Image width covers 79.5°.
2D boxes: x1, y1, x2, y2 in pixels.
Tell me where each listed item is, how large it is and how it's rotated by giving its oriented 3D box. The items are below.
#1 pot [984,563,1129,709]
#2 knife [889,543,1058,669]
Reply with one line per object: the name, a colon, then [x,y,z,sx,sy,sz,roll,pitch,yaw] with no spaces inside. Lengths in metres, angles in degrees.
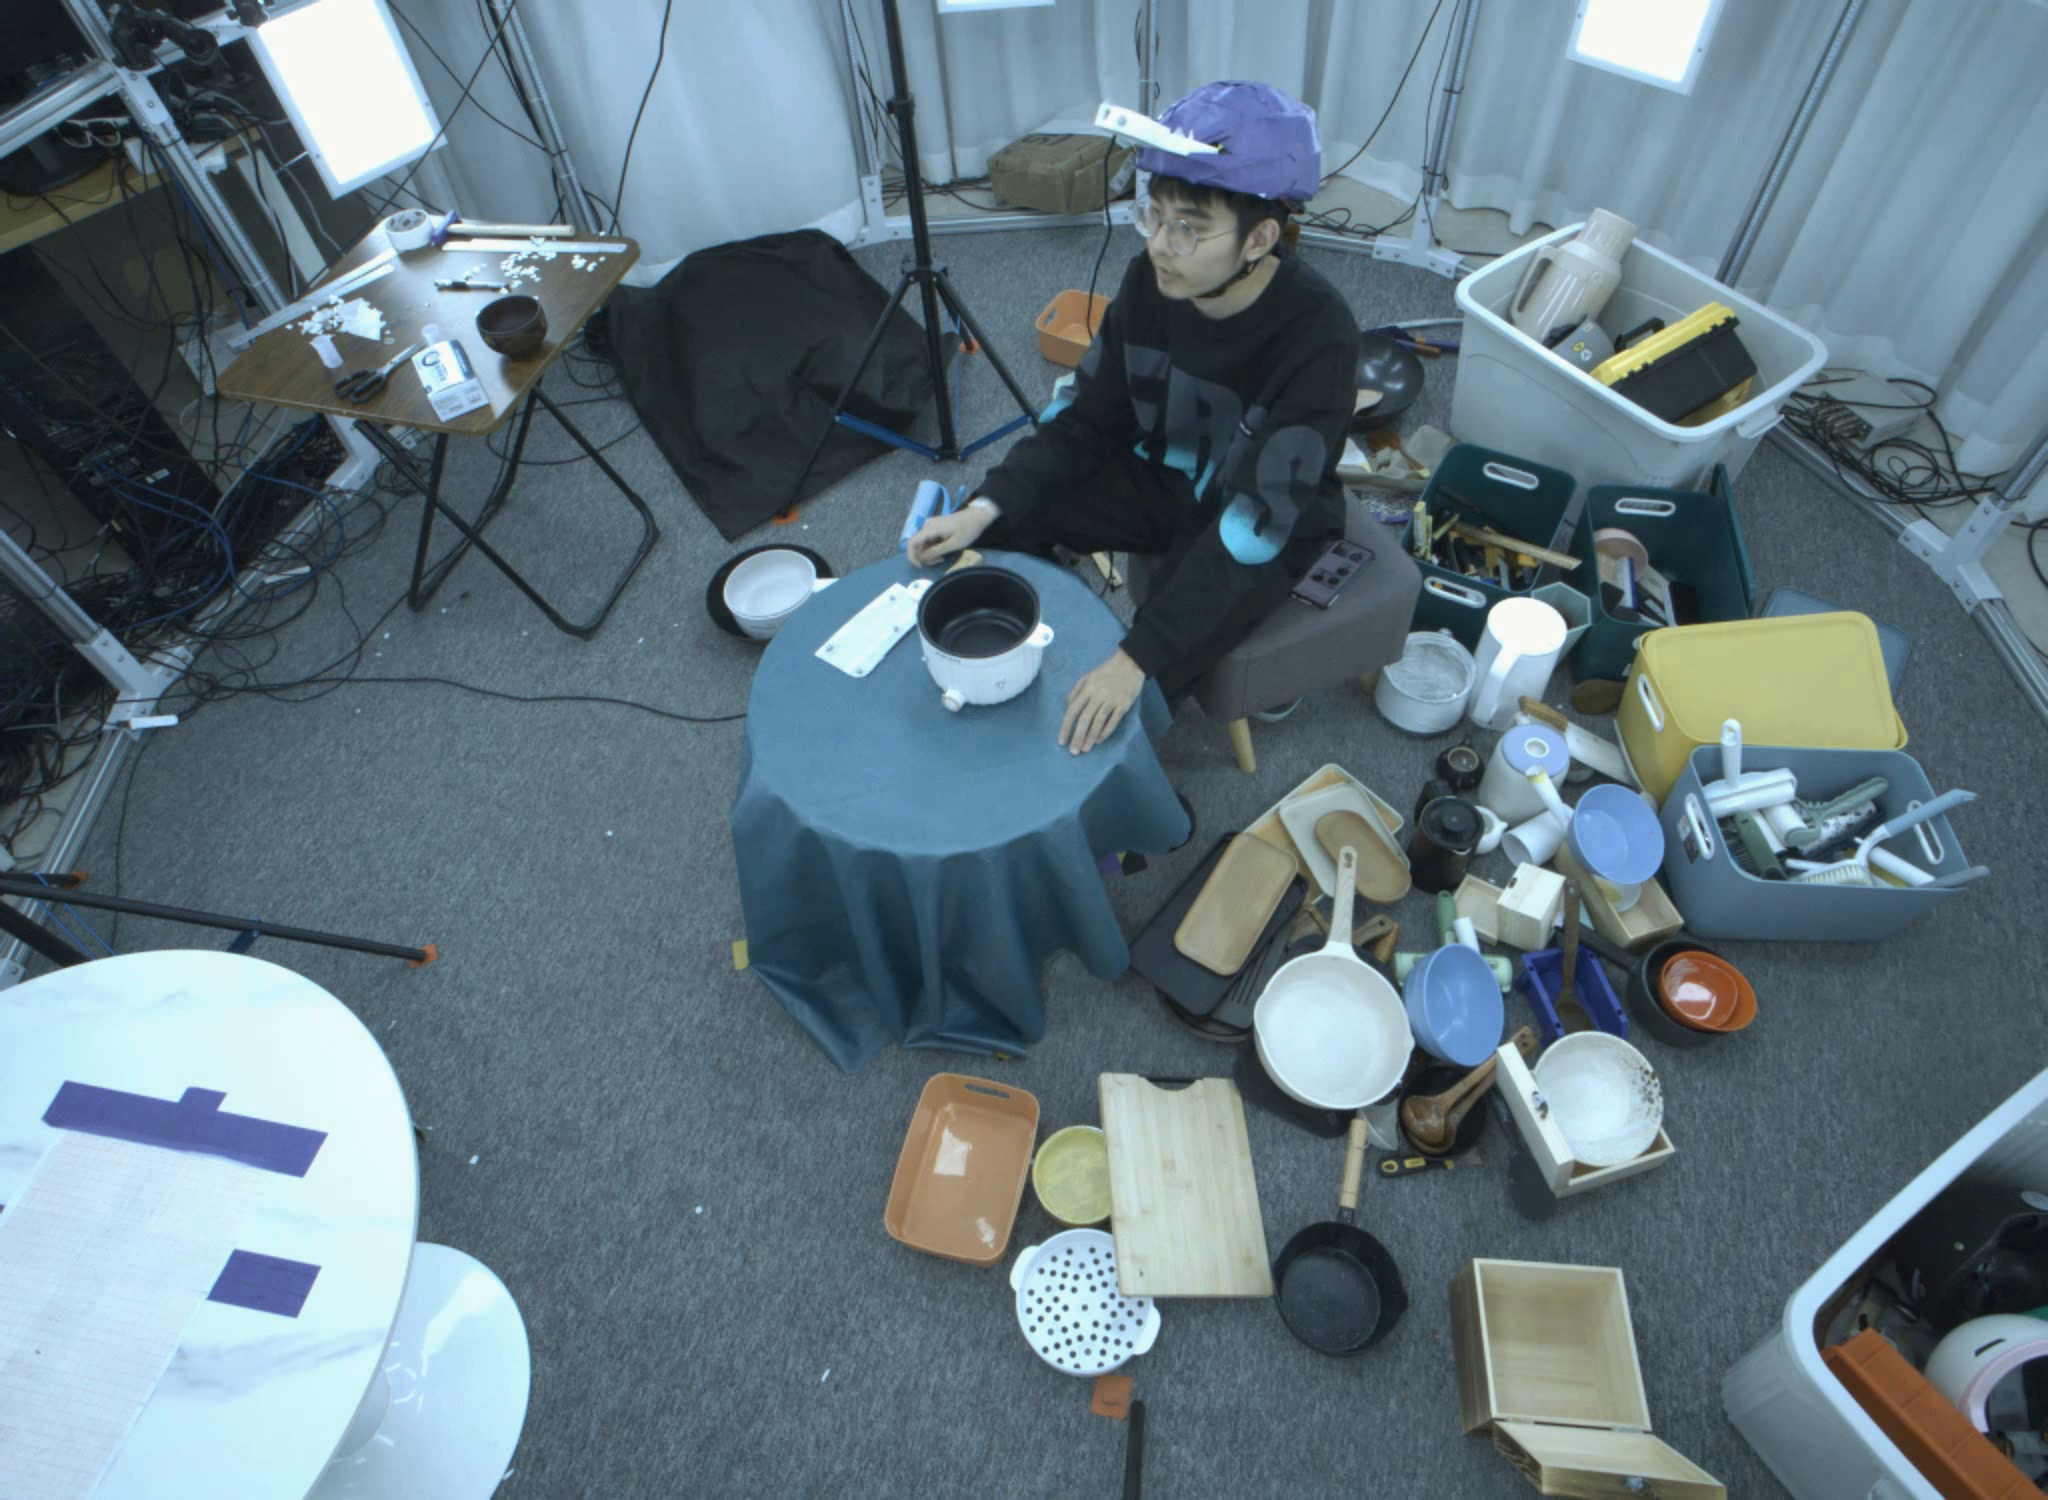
pot: [0.046,-0.159,1.812,0.236,0.144,0.191,26,57,21]
knife: [-0.070,-0.233,1.943,0.317,0.022,0.112,-38,61,-19]
